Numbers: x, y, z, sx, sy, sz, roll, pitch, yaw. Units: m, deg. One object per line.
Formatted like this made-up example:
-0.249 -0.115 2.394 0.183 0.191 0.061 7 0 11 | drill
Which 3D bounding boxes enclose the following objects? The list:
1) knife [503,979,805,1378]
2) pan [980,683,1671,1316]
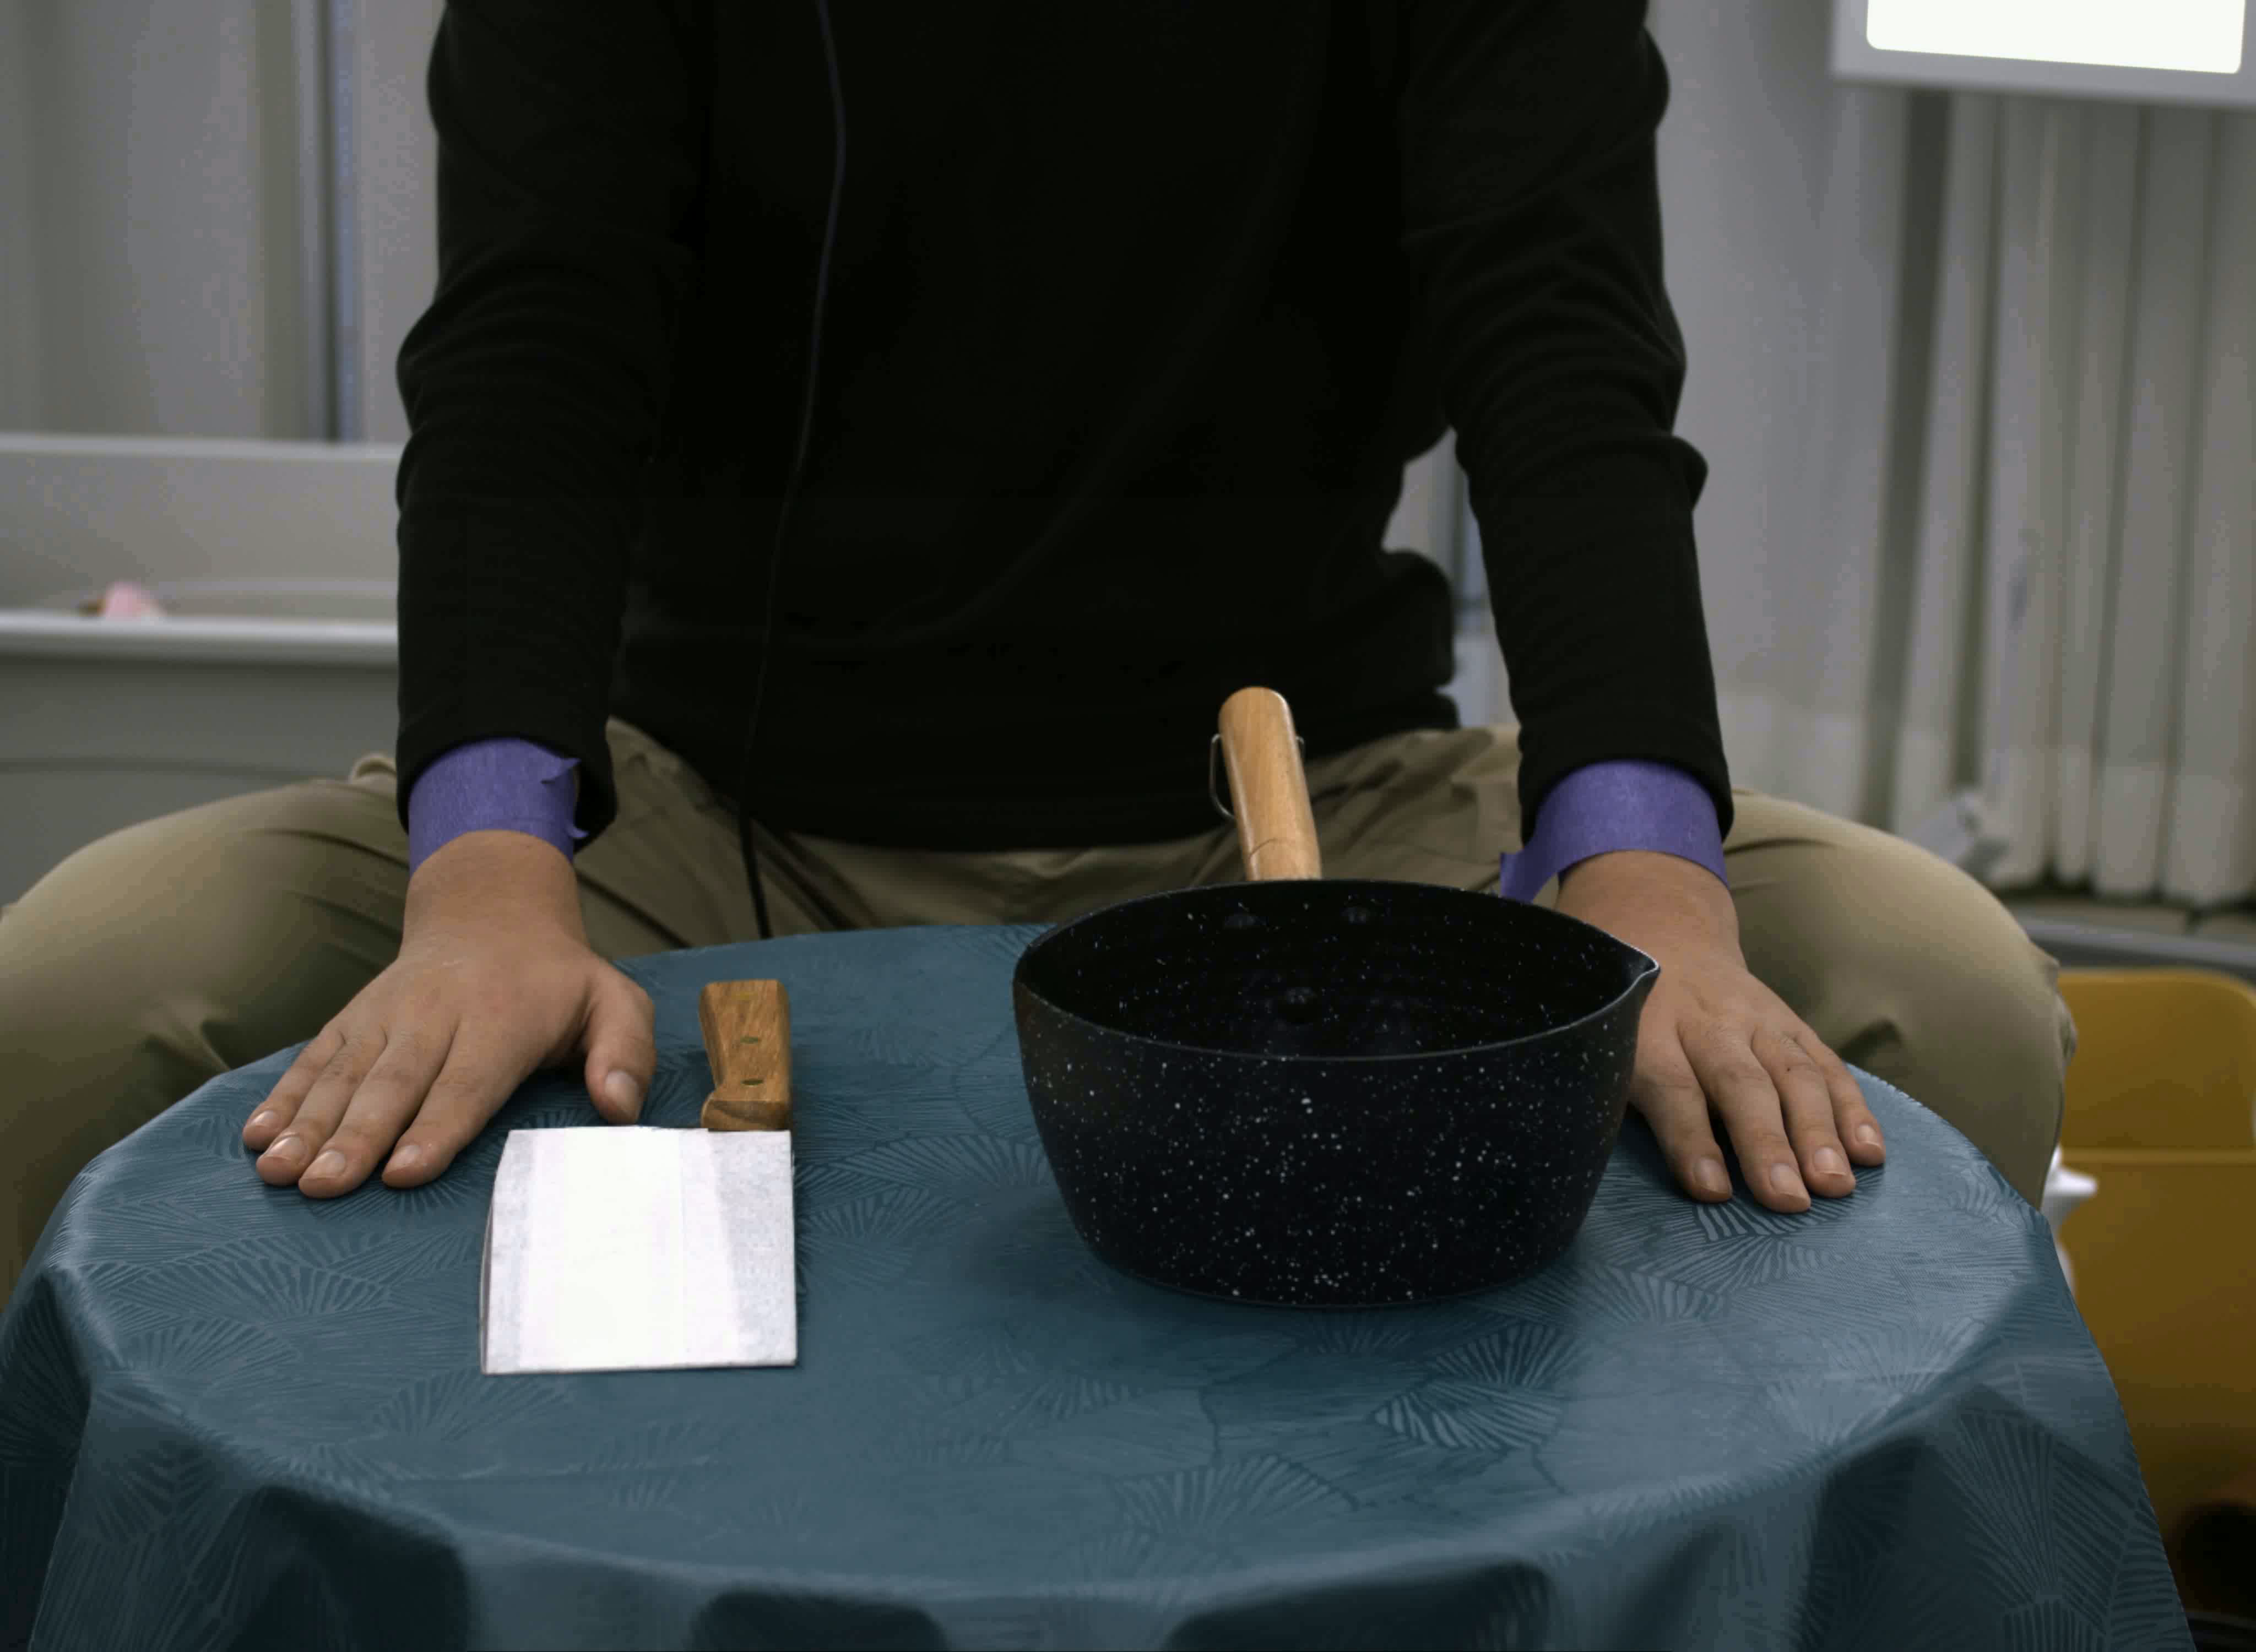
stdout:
-0.145 0.106 1.614 0.093 0.021 0.303 -2 18 -4 | knife
0.053 0.049 1.653 0.207 0.109 0.340 -1 17 -5 | pan
